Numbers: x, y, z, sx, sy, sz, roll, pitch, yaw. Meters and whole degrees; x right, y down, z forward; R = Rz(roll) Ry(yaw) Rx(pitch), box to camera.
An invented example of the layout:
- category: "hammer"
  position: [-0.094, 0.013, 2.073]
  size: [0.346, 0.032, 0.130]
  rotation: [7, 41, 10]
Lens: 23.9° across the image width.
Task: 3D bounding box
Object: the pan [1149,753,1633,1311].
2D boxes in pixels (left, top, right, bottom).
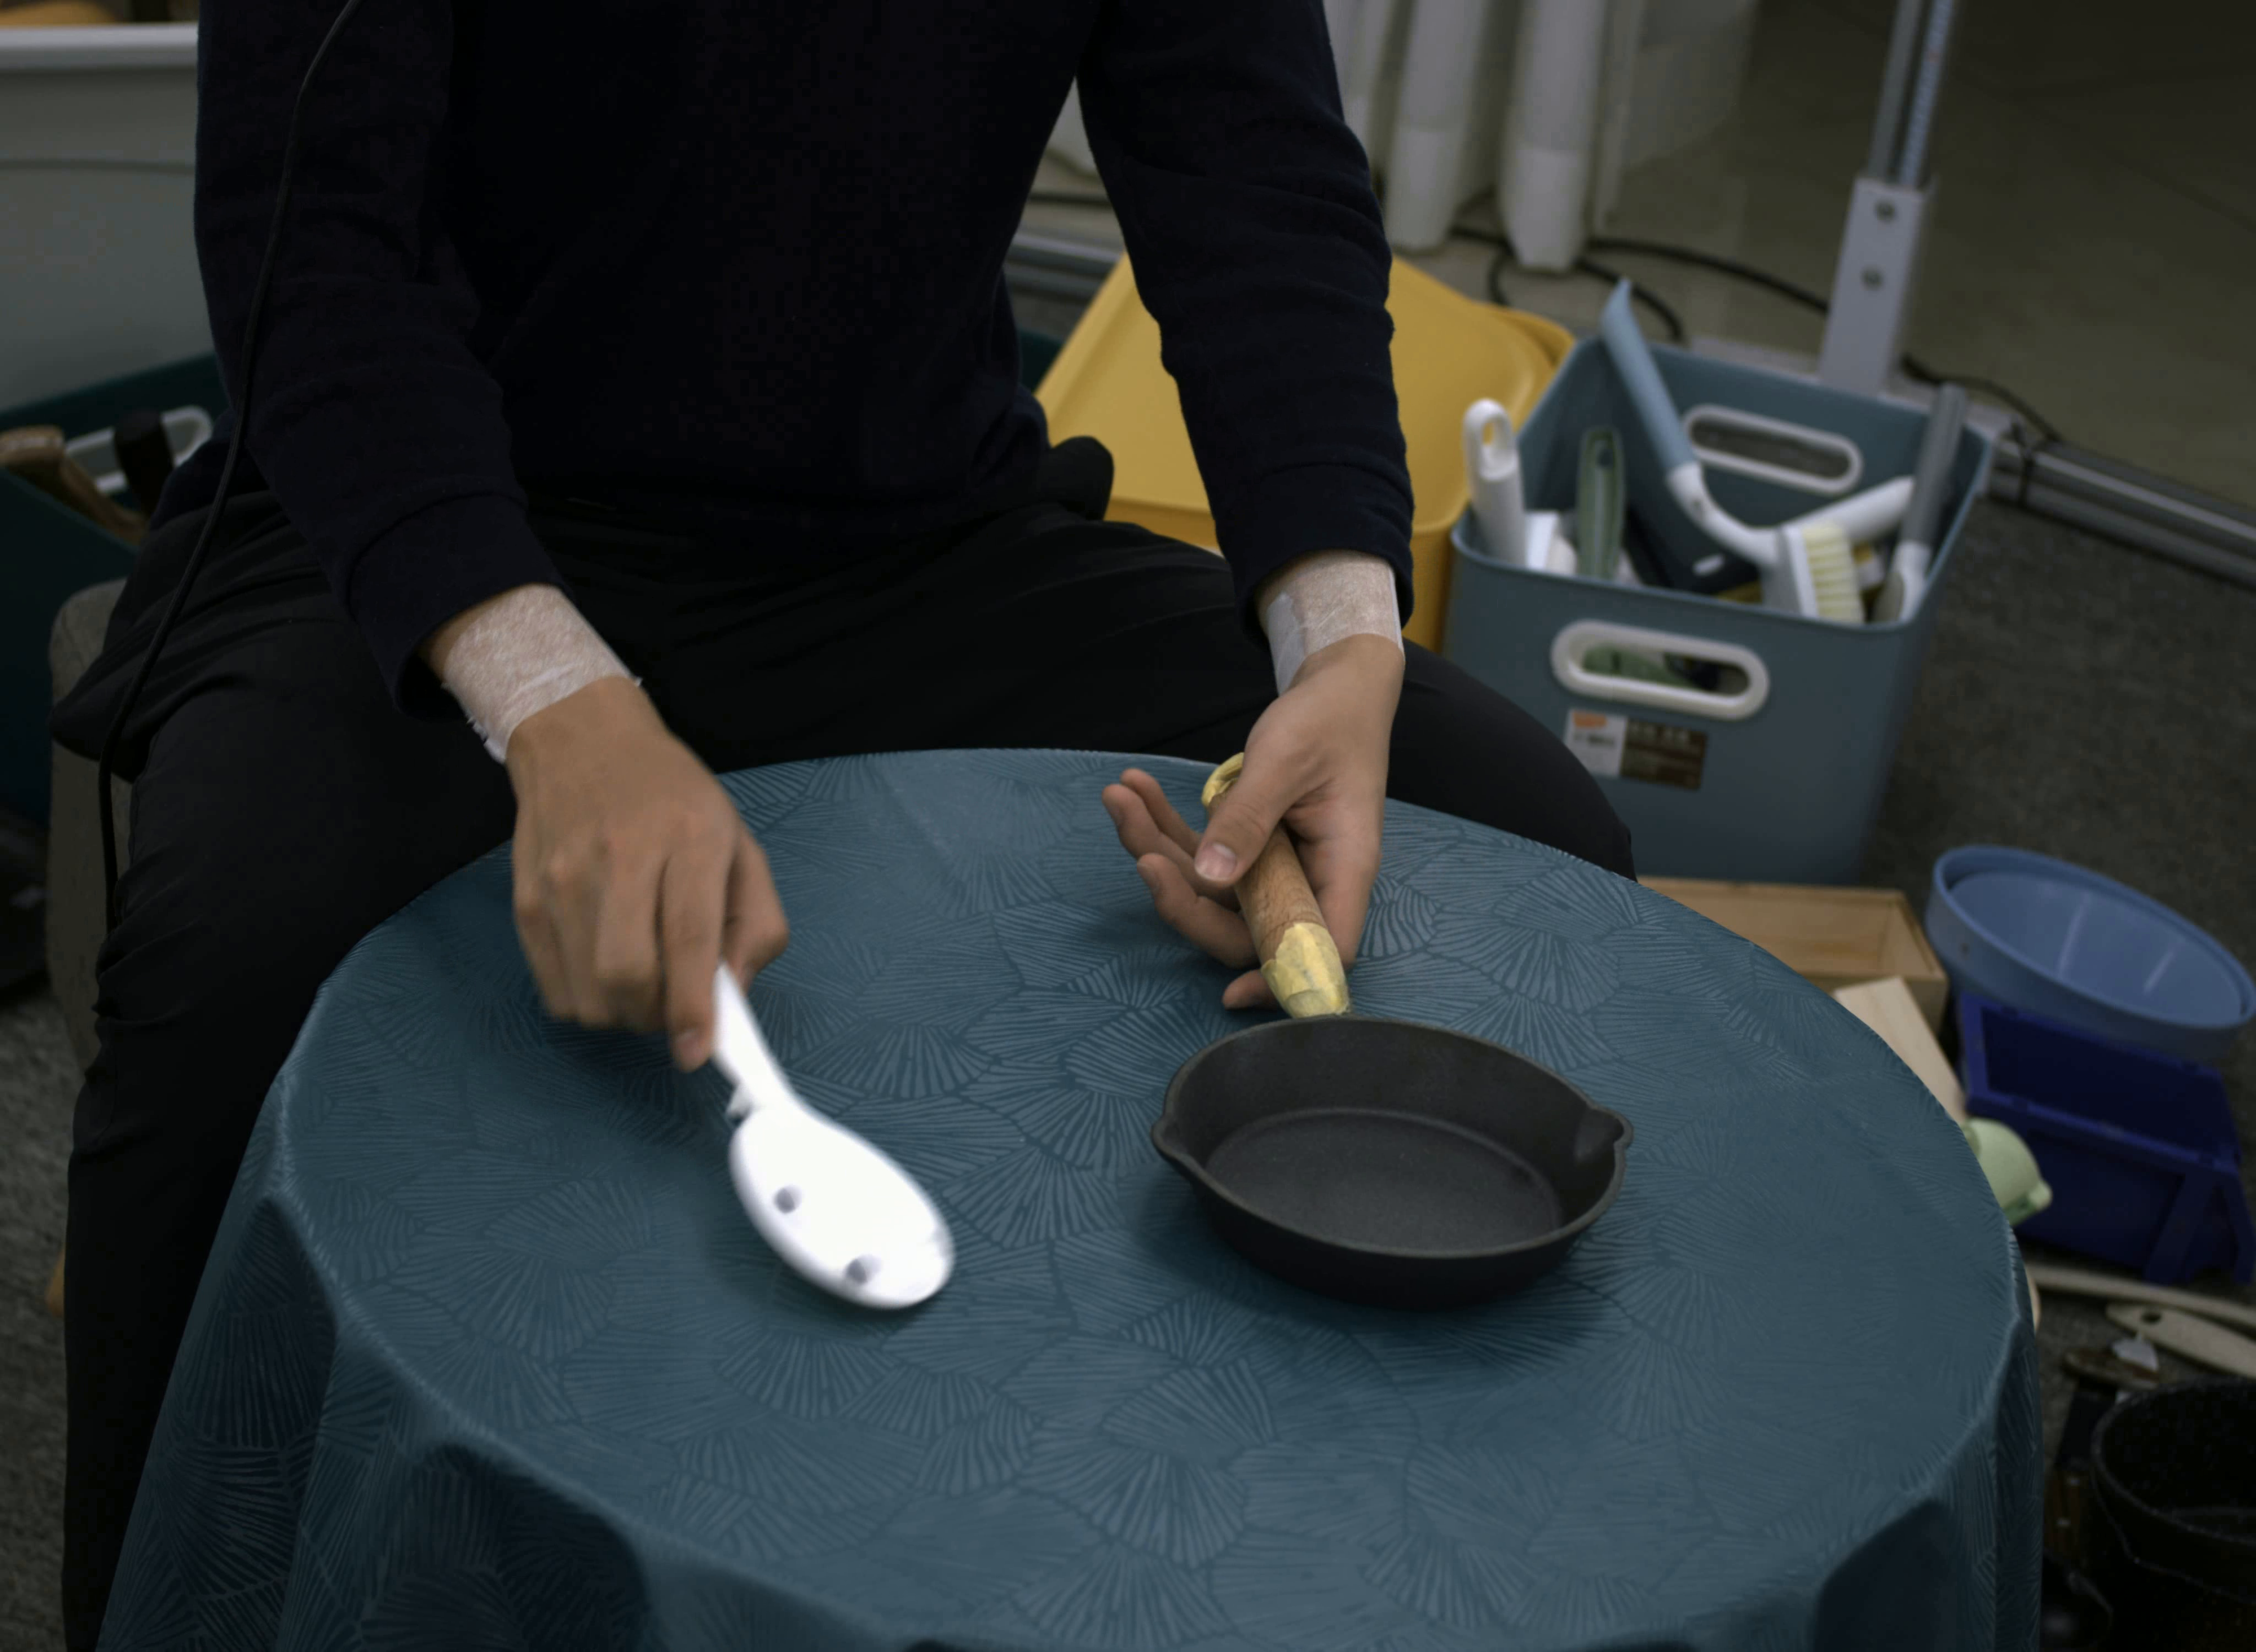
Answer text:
- category: "pan"
  position: [0.072, 0.069, 1.870]
  size: [0.168, 0.049, 0.327]
  rotation: [0, 29, -12]

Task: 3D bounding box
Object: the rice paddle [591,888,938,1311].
- category: "rice paddle"
  position: [-0.124, 0.093, 1.776]
  size: [0.068, 0.029, 0.207]
  rotation: [-3, 38, -32]
